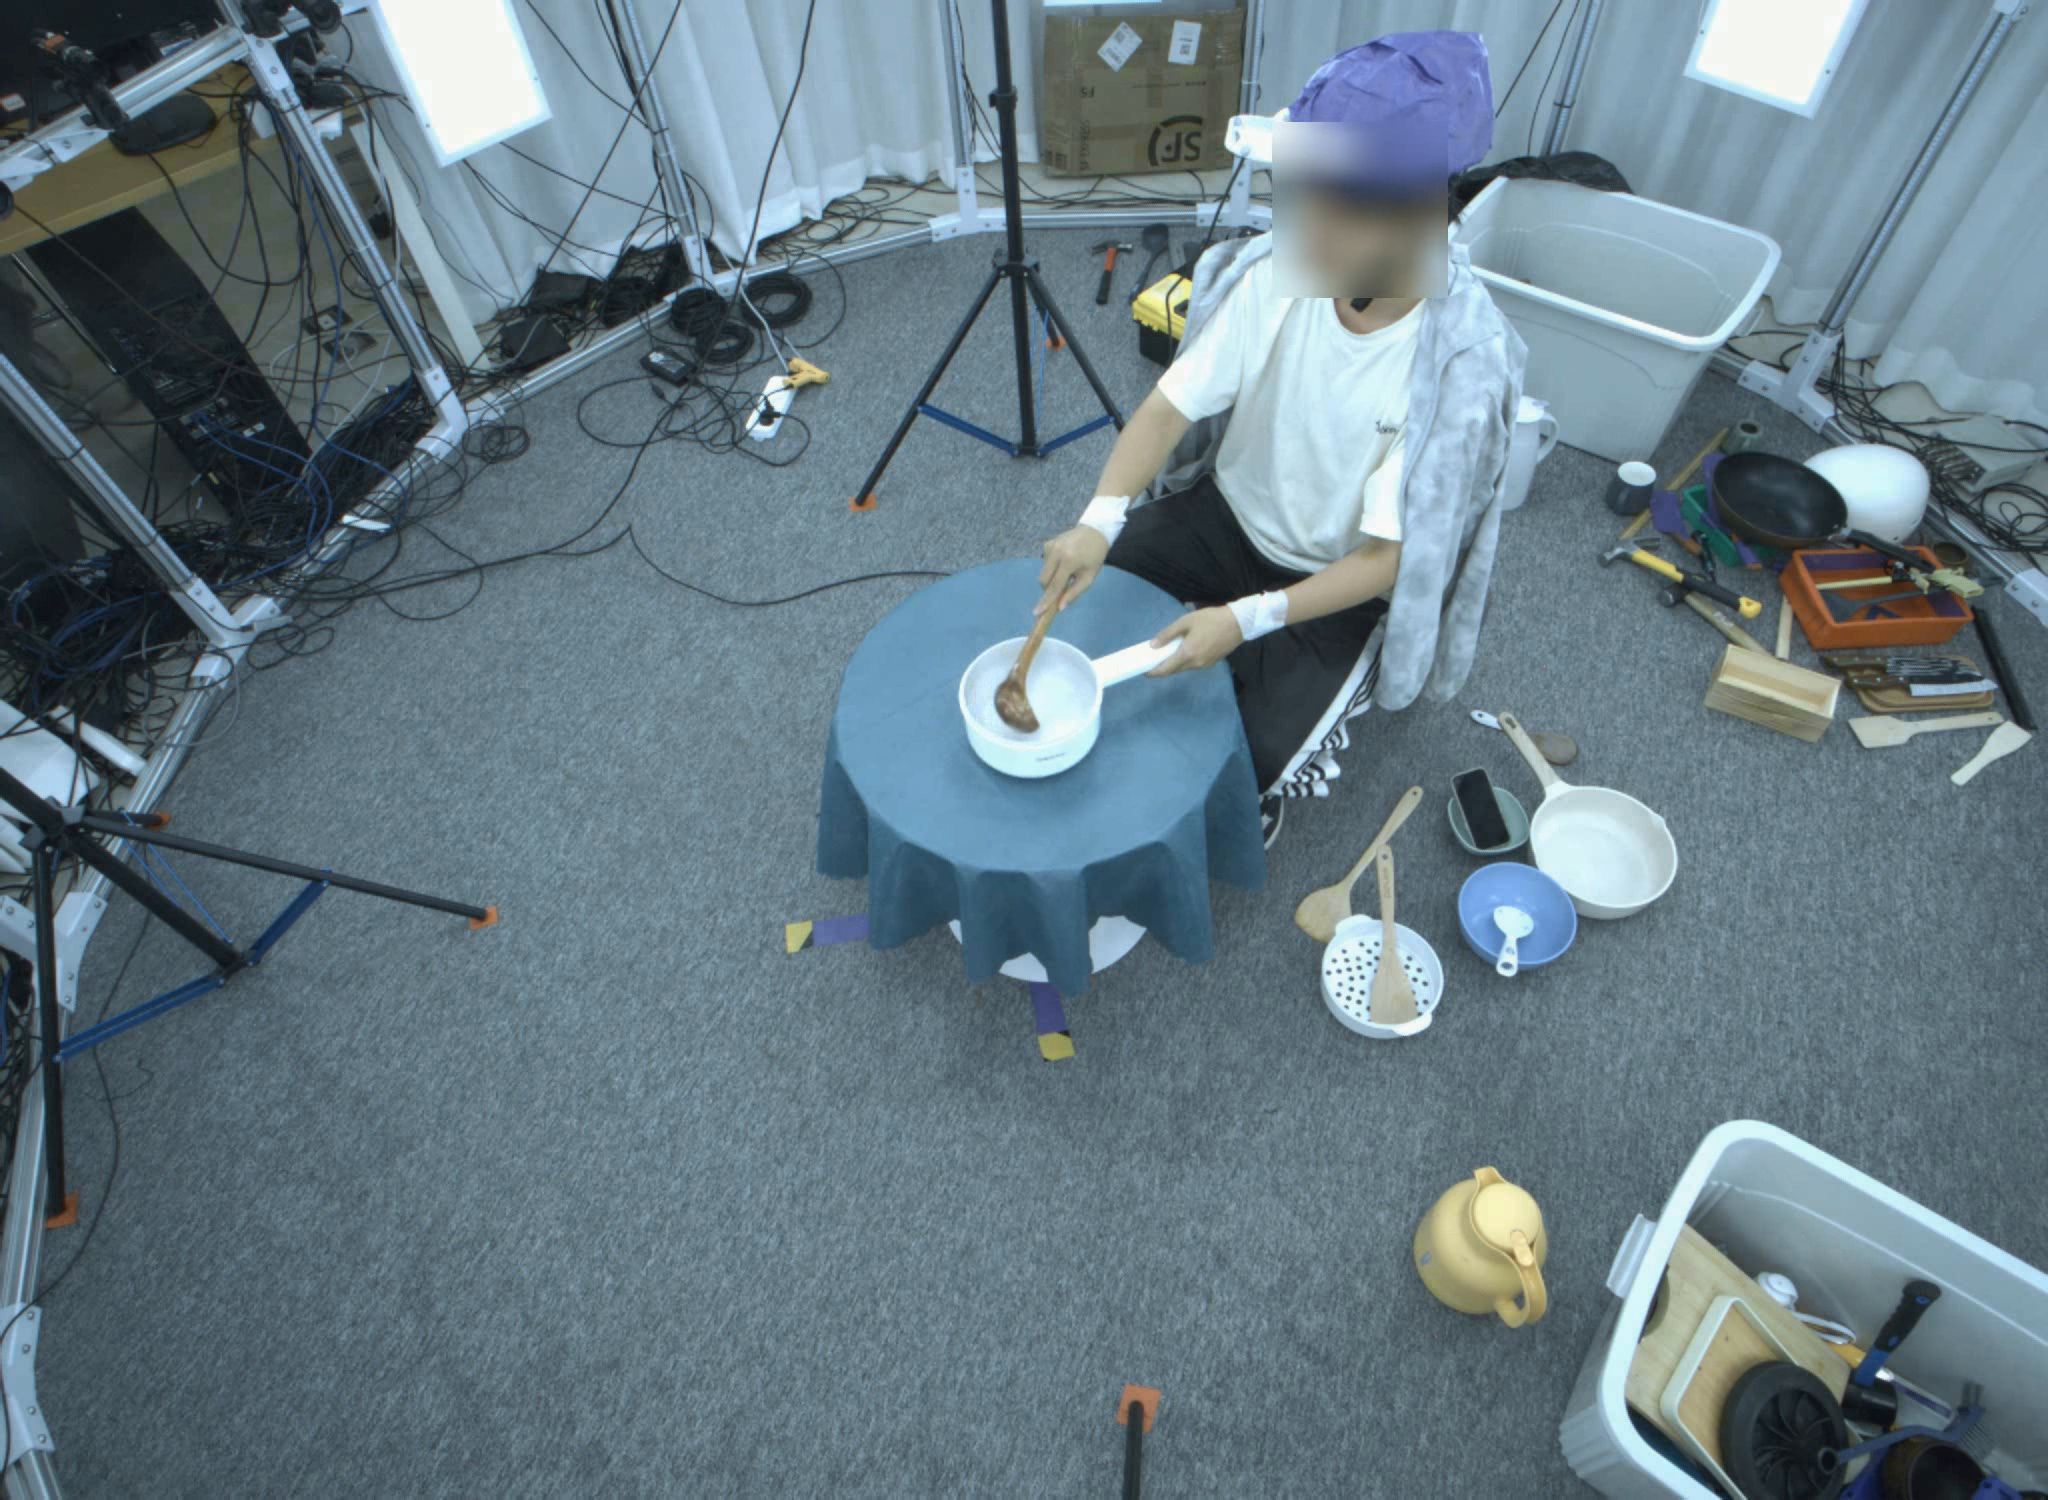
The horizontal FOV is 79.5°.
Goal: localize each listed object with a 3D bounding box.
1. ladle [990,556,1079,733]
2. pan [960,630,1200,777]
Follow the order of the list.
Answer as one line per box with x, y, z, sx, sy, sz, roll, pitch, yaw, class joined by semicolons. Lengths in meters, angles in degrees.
0.031;-0.151;1.710;0.075;0.084;0.274;18;75;39;ladle
0.084;-0.082;1.784;0.357;0.103;0.197;-19;55;-12;pan
